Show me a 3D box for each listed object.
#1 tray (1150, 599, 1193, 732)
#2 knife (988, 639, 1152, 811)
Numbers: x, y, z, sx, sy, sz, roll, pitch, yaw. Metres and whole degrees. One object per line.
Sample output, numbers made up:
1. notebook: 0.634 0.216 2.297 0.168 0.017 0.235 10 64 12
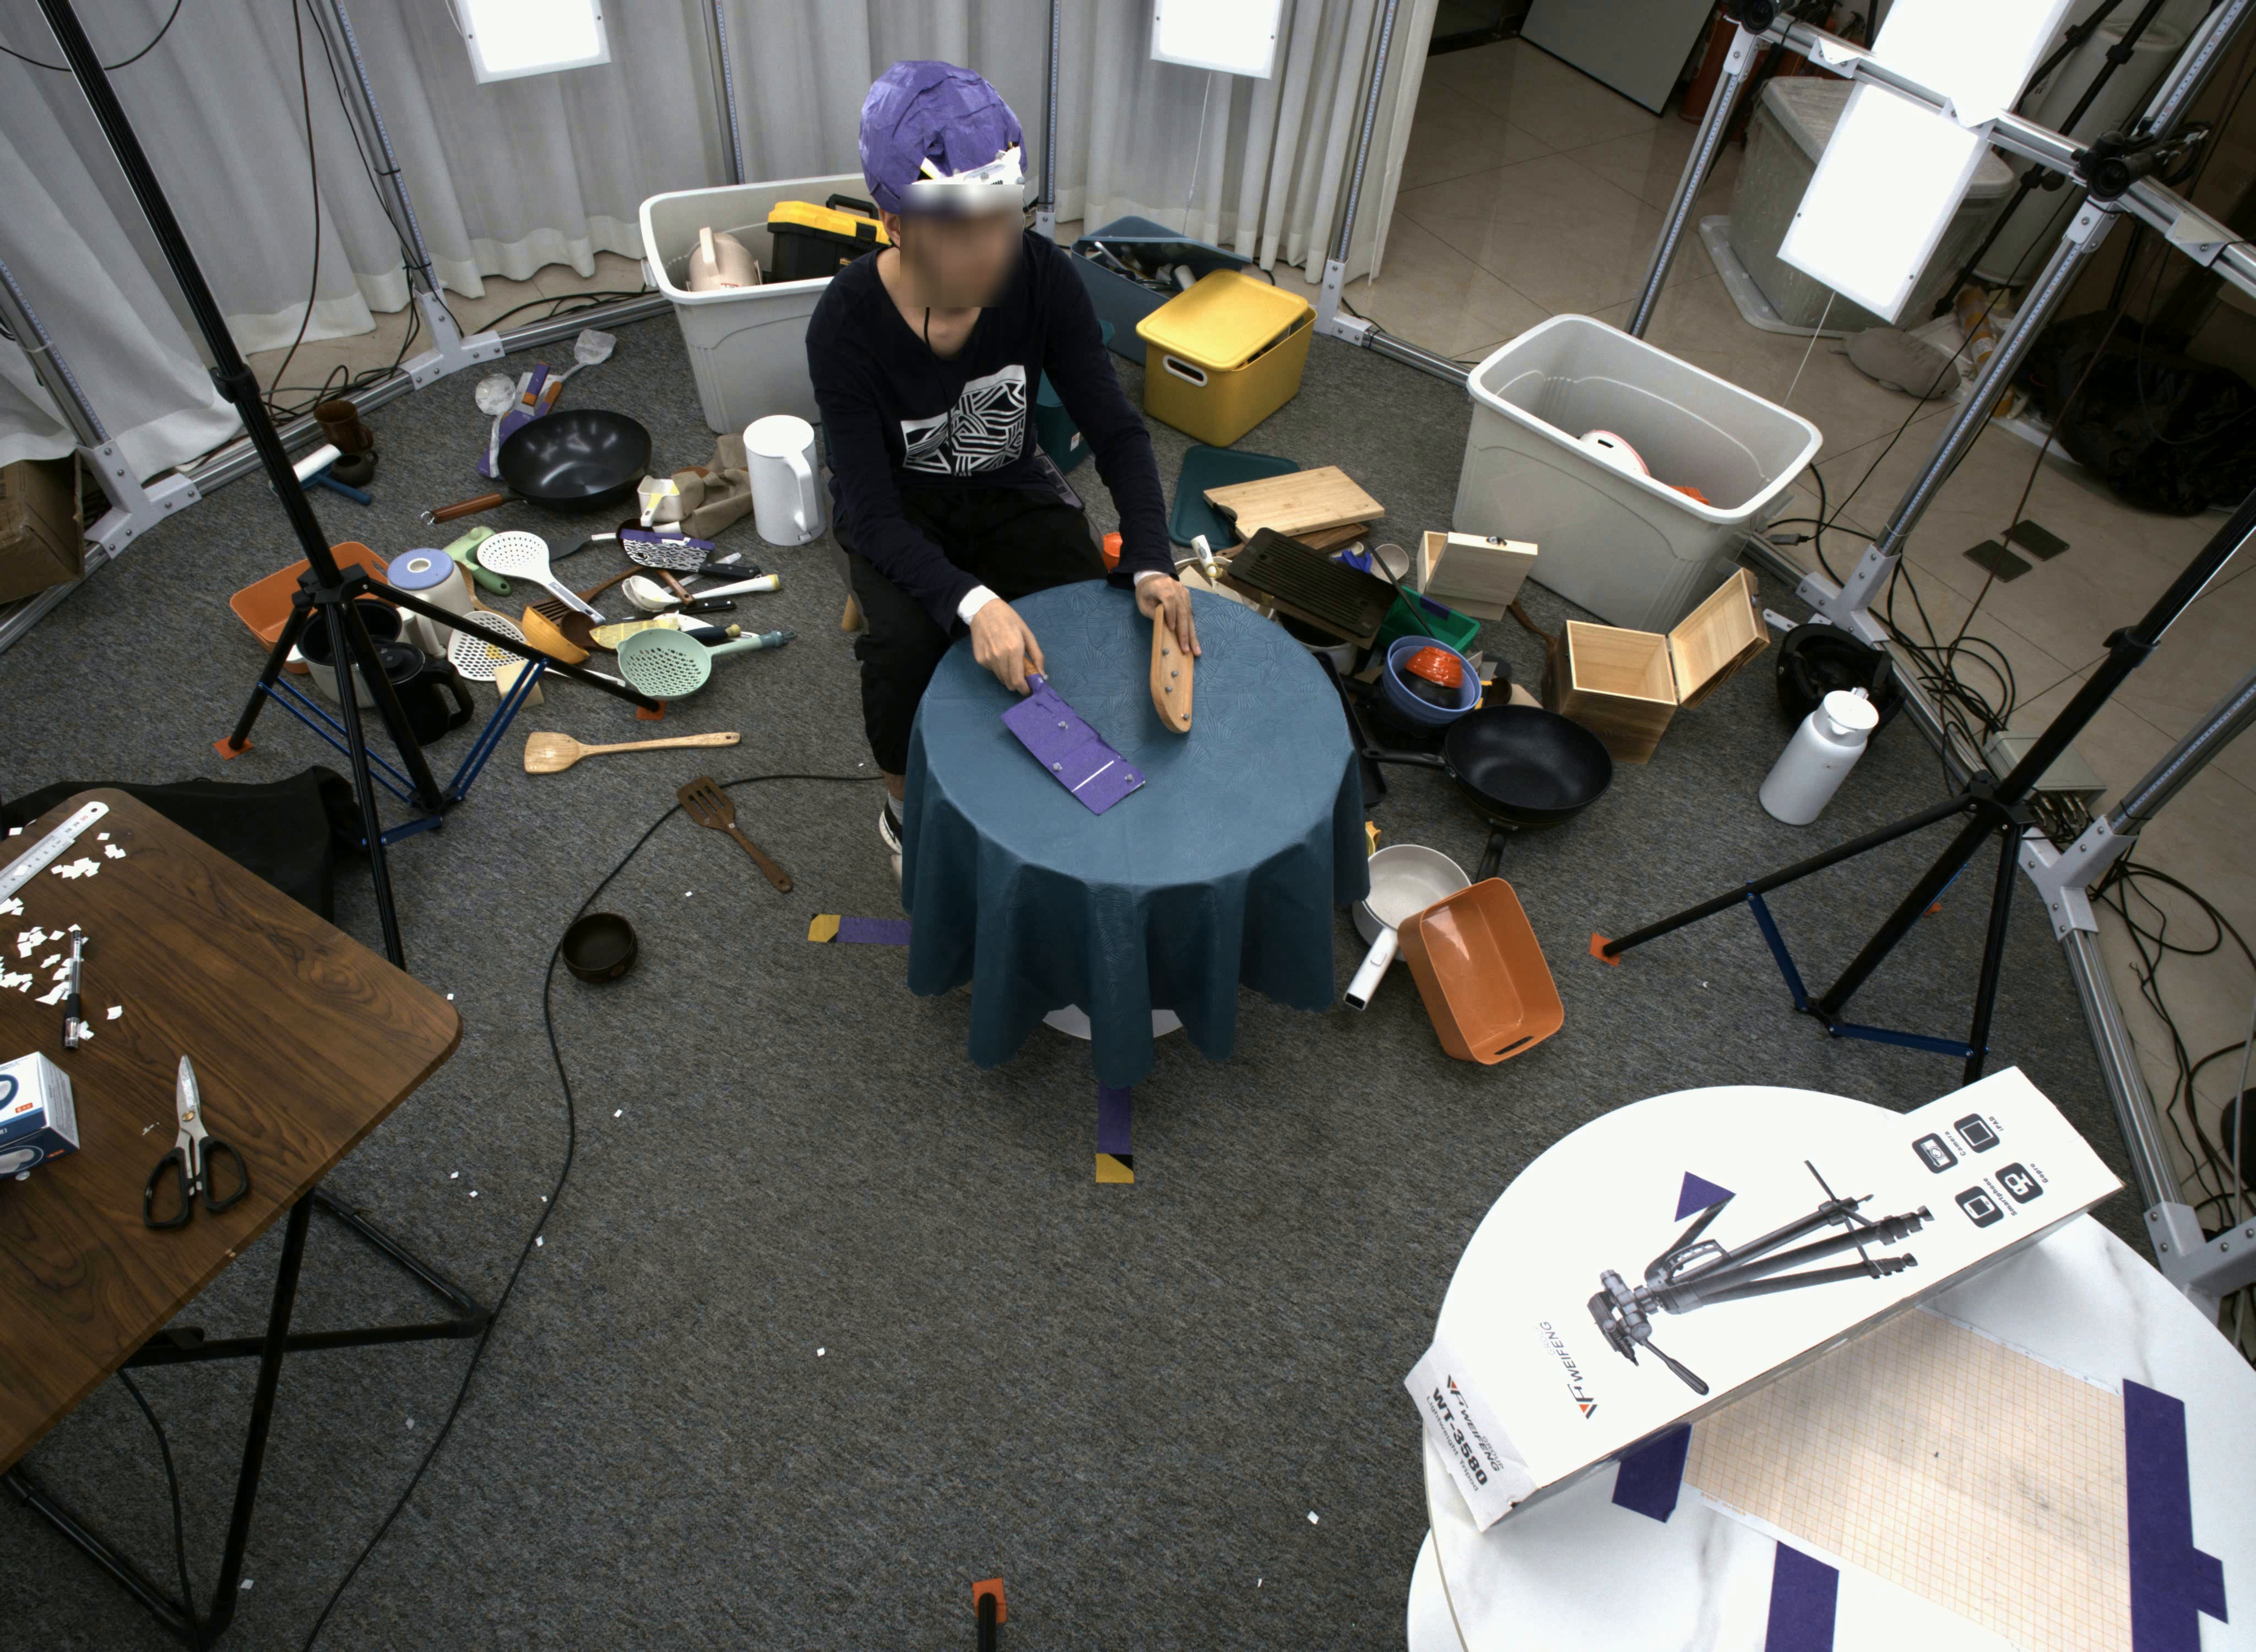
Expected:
1. tray: 0.062 -0.228 1.813 0.020 0.099 0.237 -20 44 22
2. knife: -0.107 -0.141 1.752 0.104 0.031 0.320 -33 62 -27
